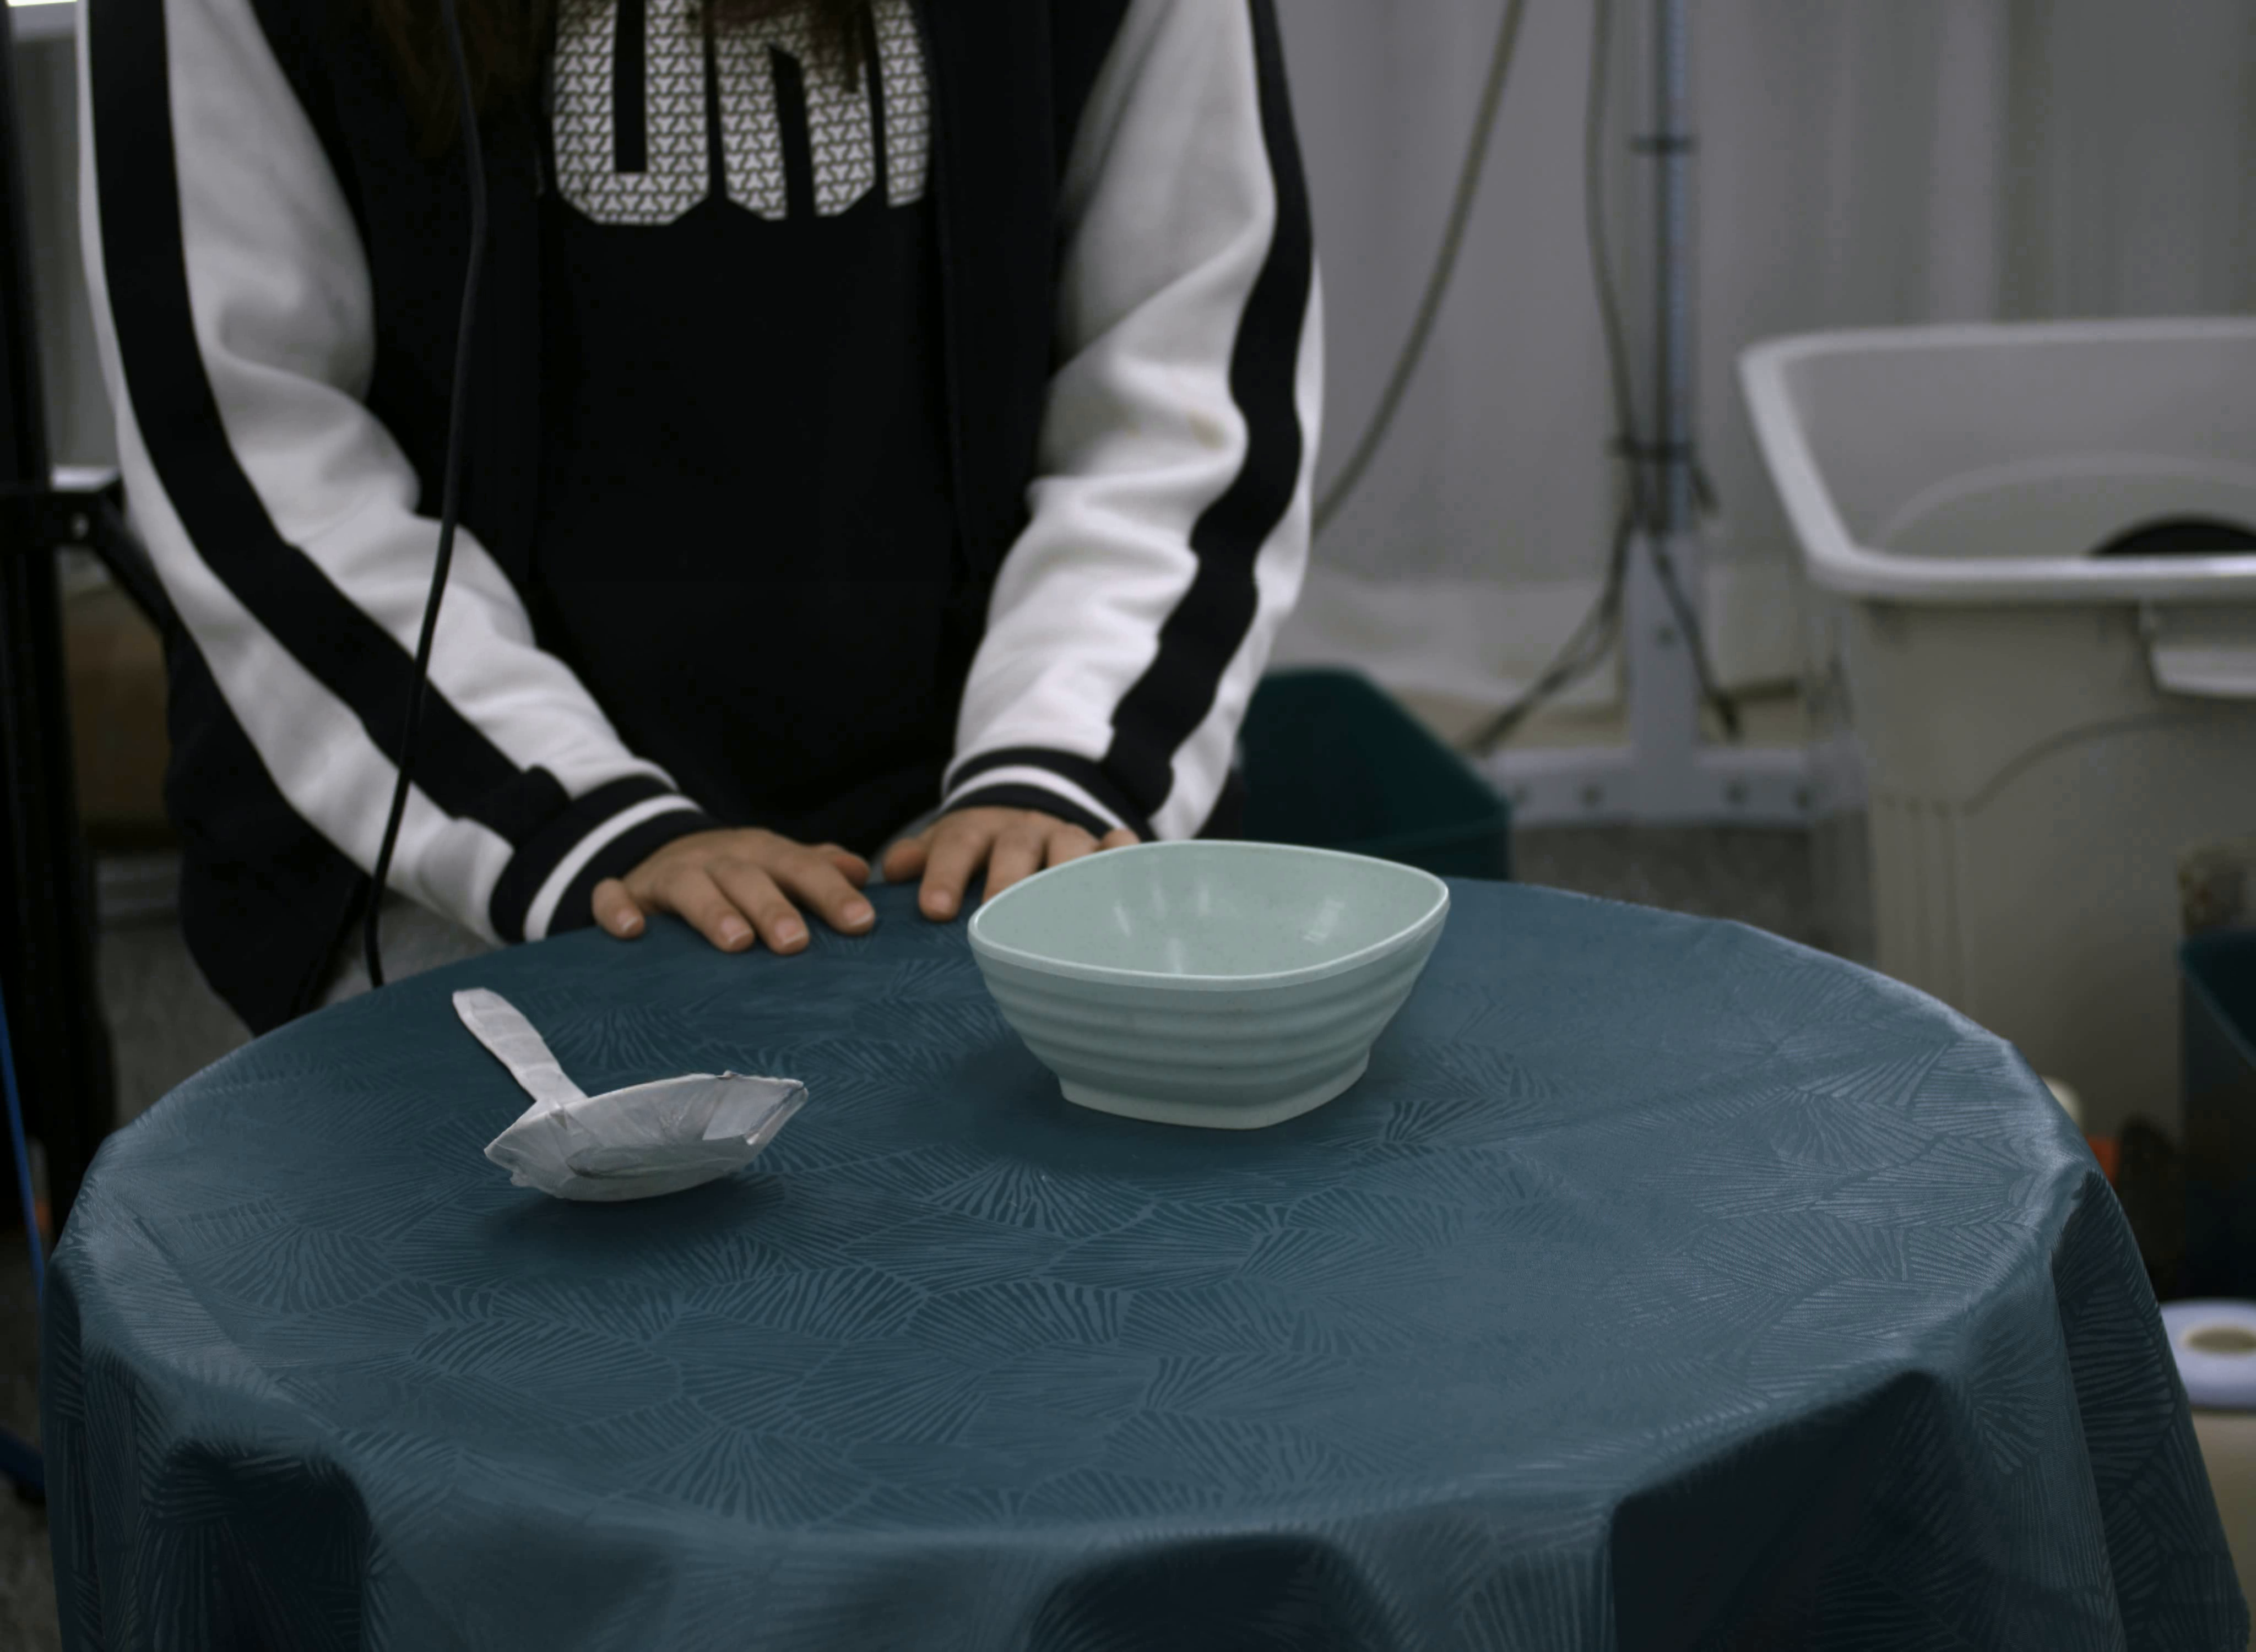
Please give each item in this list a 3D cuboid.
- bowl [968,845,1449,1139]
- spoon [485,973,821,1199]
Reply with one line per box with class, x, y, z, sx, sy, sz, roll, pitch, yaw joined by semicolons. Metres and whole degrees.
bowl;0.026;0.054;1.646;0.150;0.058;0.152;-3;16;-1
spoon;-0.163;0.062;1.644;0.099;0.059;0.281;-2;15;-16
